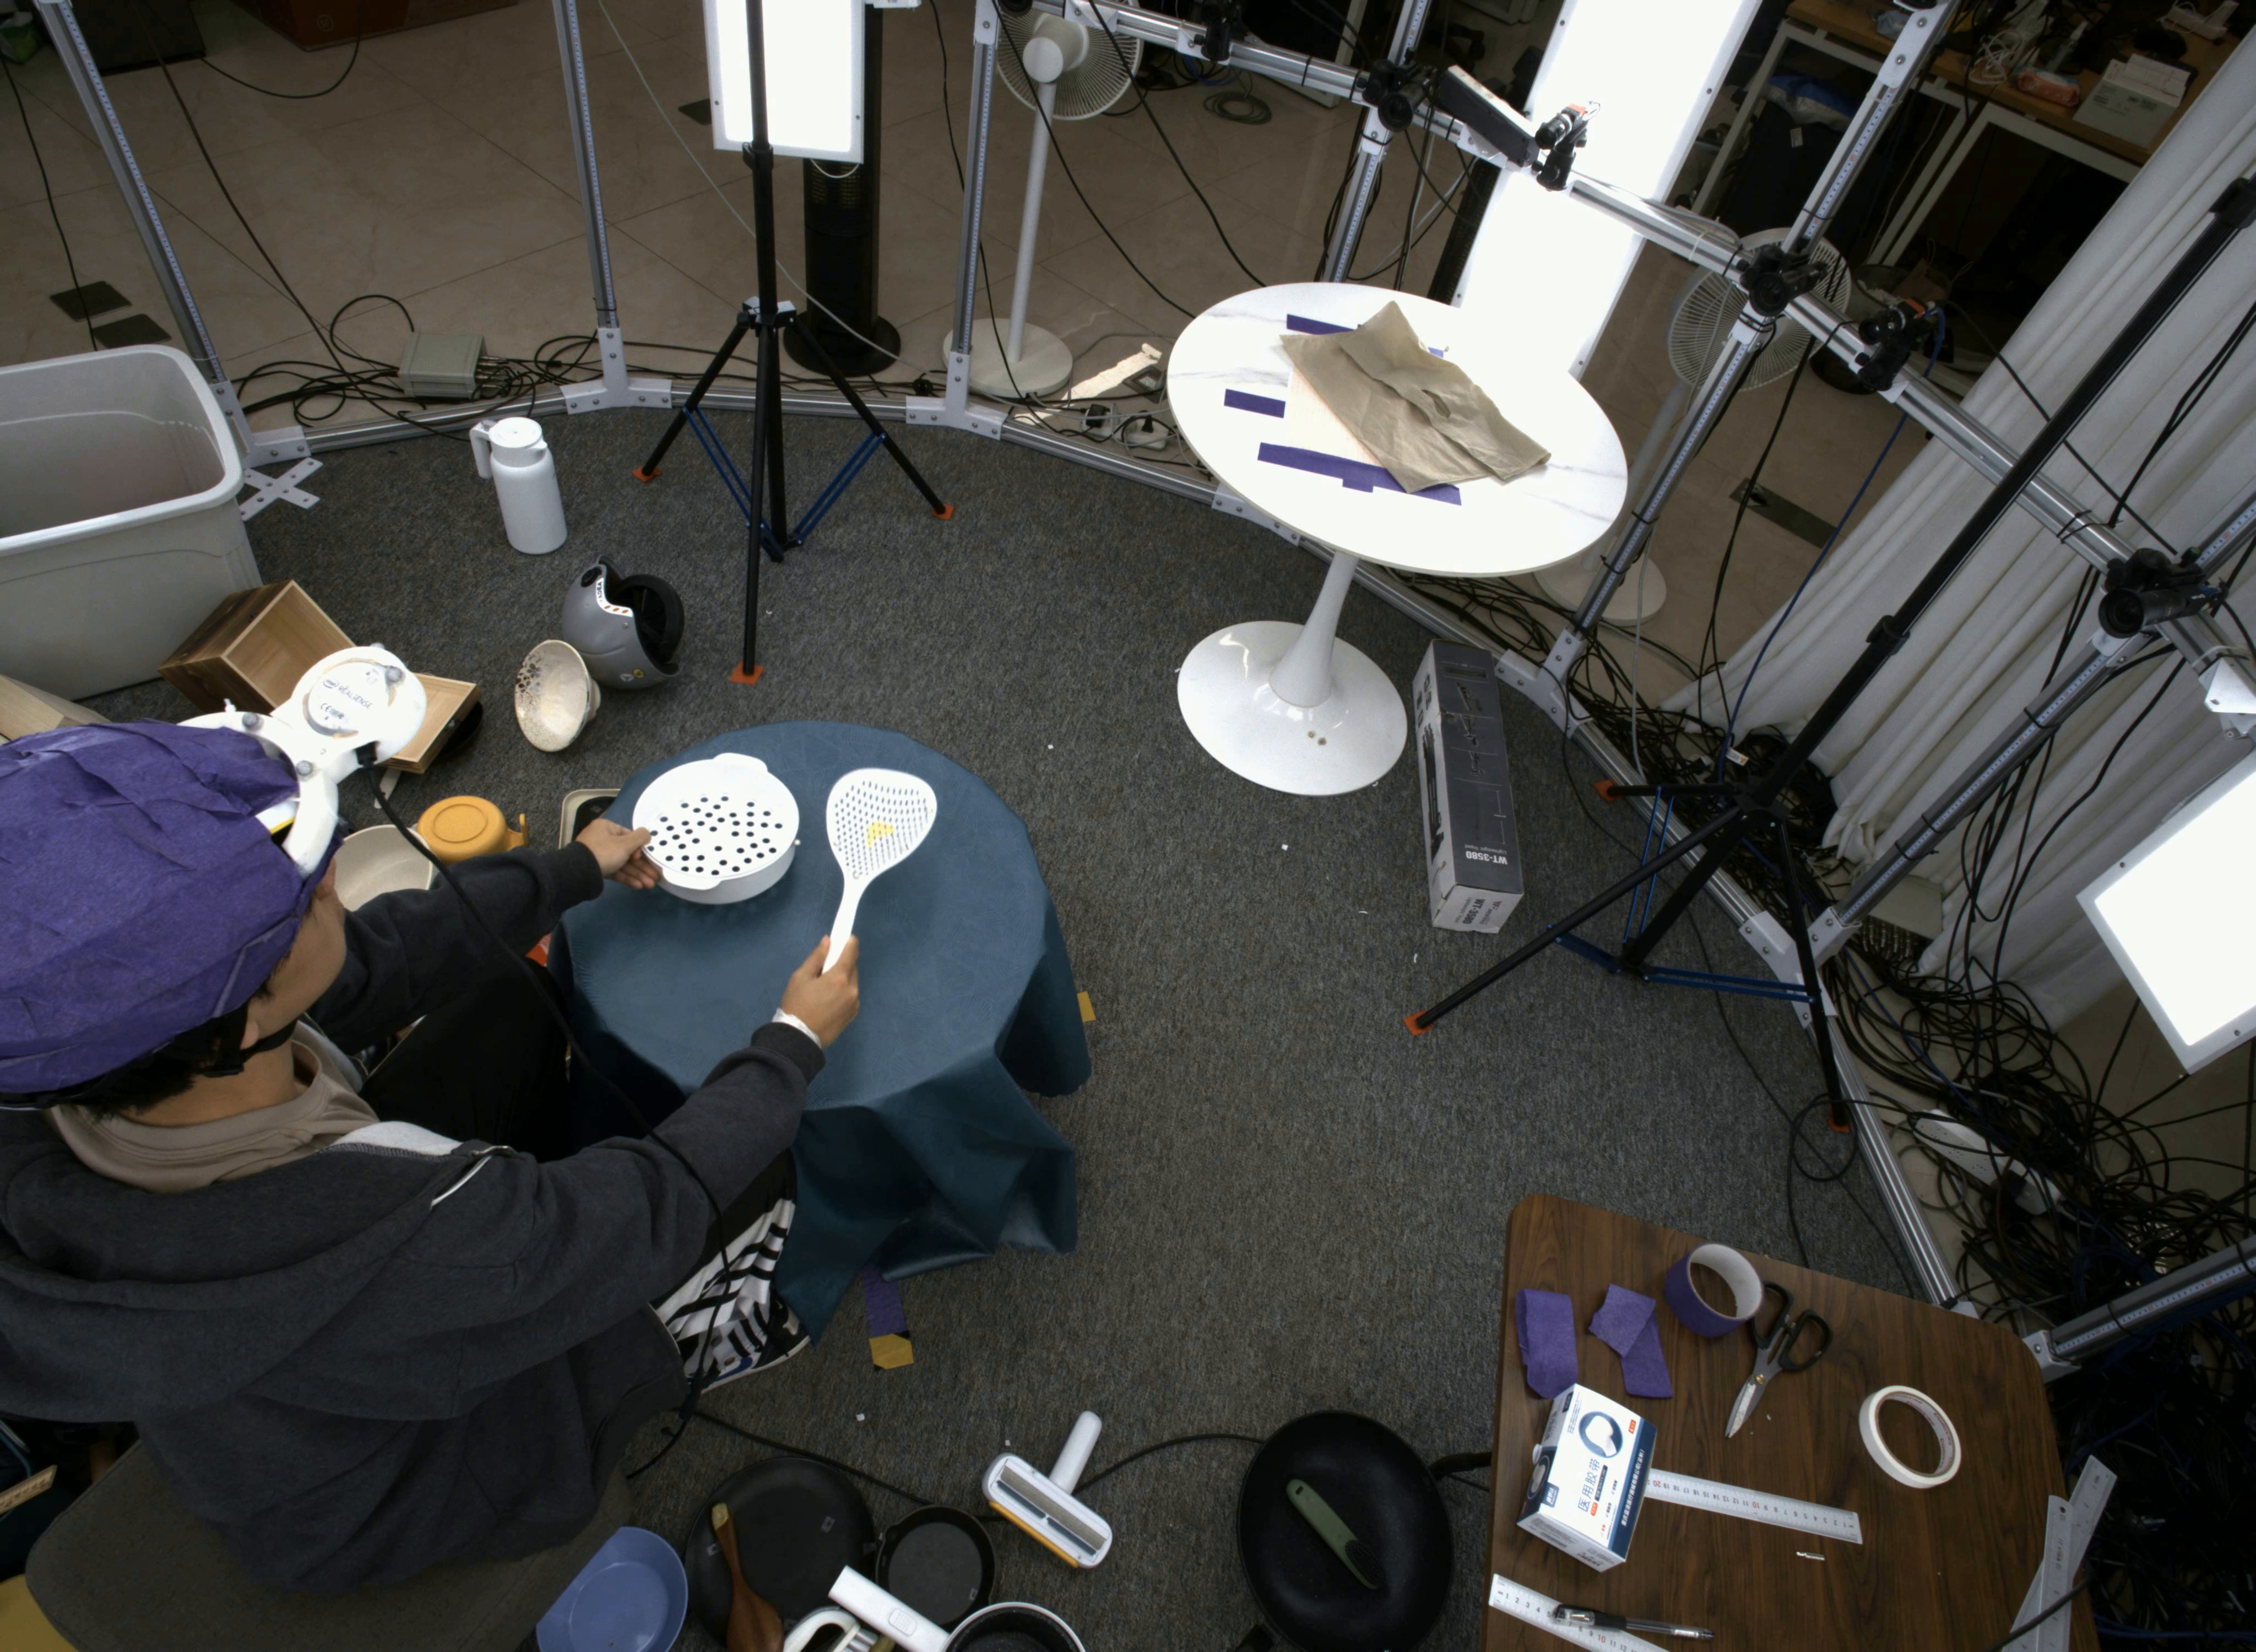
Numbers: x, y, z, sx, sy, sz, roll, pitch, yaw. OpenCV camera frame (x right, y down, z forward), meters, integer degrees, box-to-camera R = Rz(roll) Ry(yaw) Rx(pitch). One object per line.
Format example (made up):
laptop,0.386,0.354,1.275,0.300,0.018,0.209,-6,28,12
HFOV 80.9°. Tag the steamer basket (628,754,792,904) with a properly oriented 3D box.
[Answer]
steamer basket,-0.528,0.007,1.633,0.201,0.071,0.226,12,45,-6

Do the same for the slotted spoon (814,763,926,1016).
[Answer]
slotted spoon,-0.331,0.066,1.556,0.136,0.051,0.342,11,49,-6
